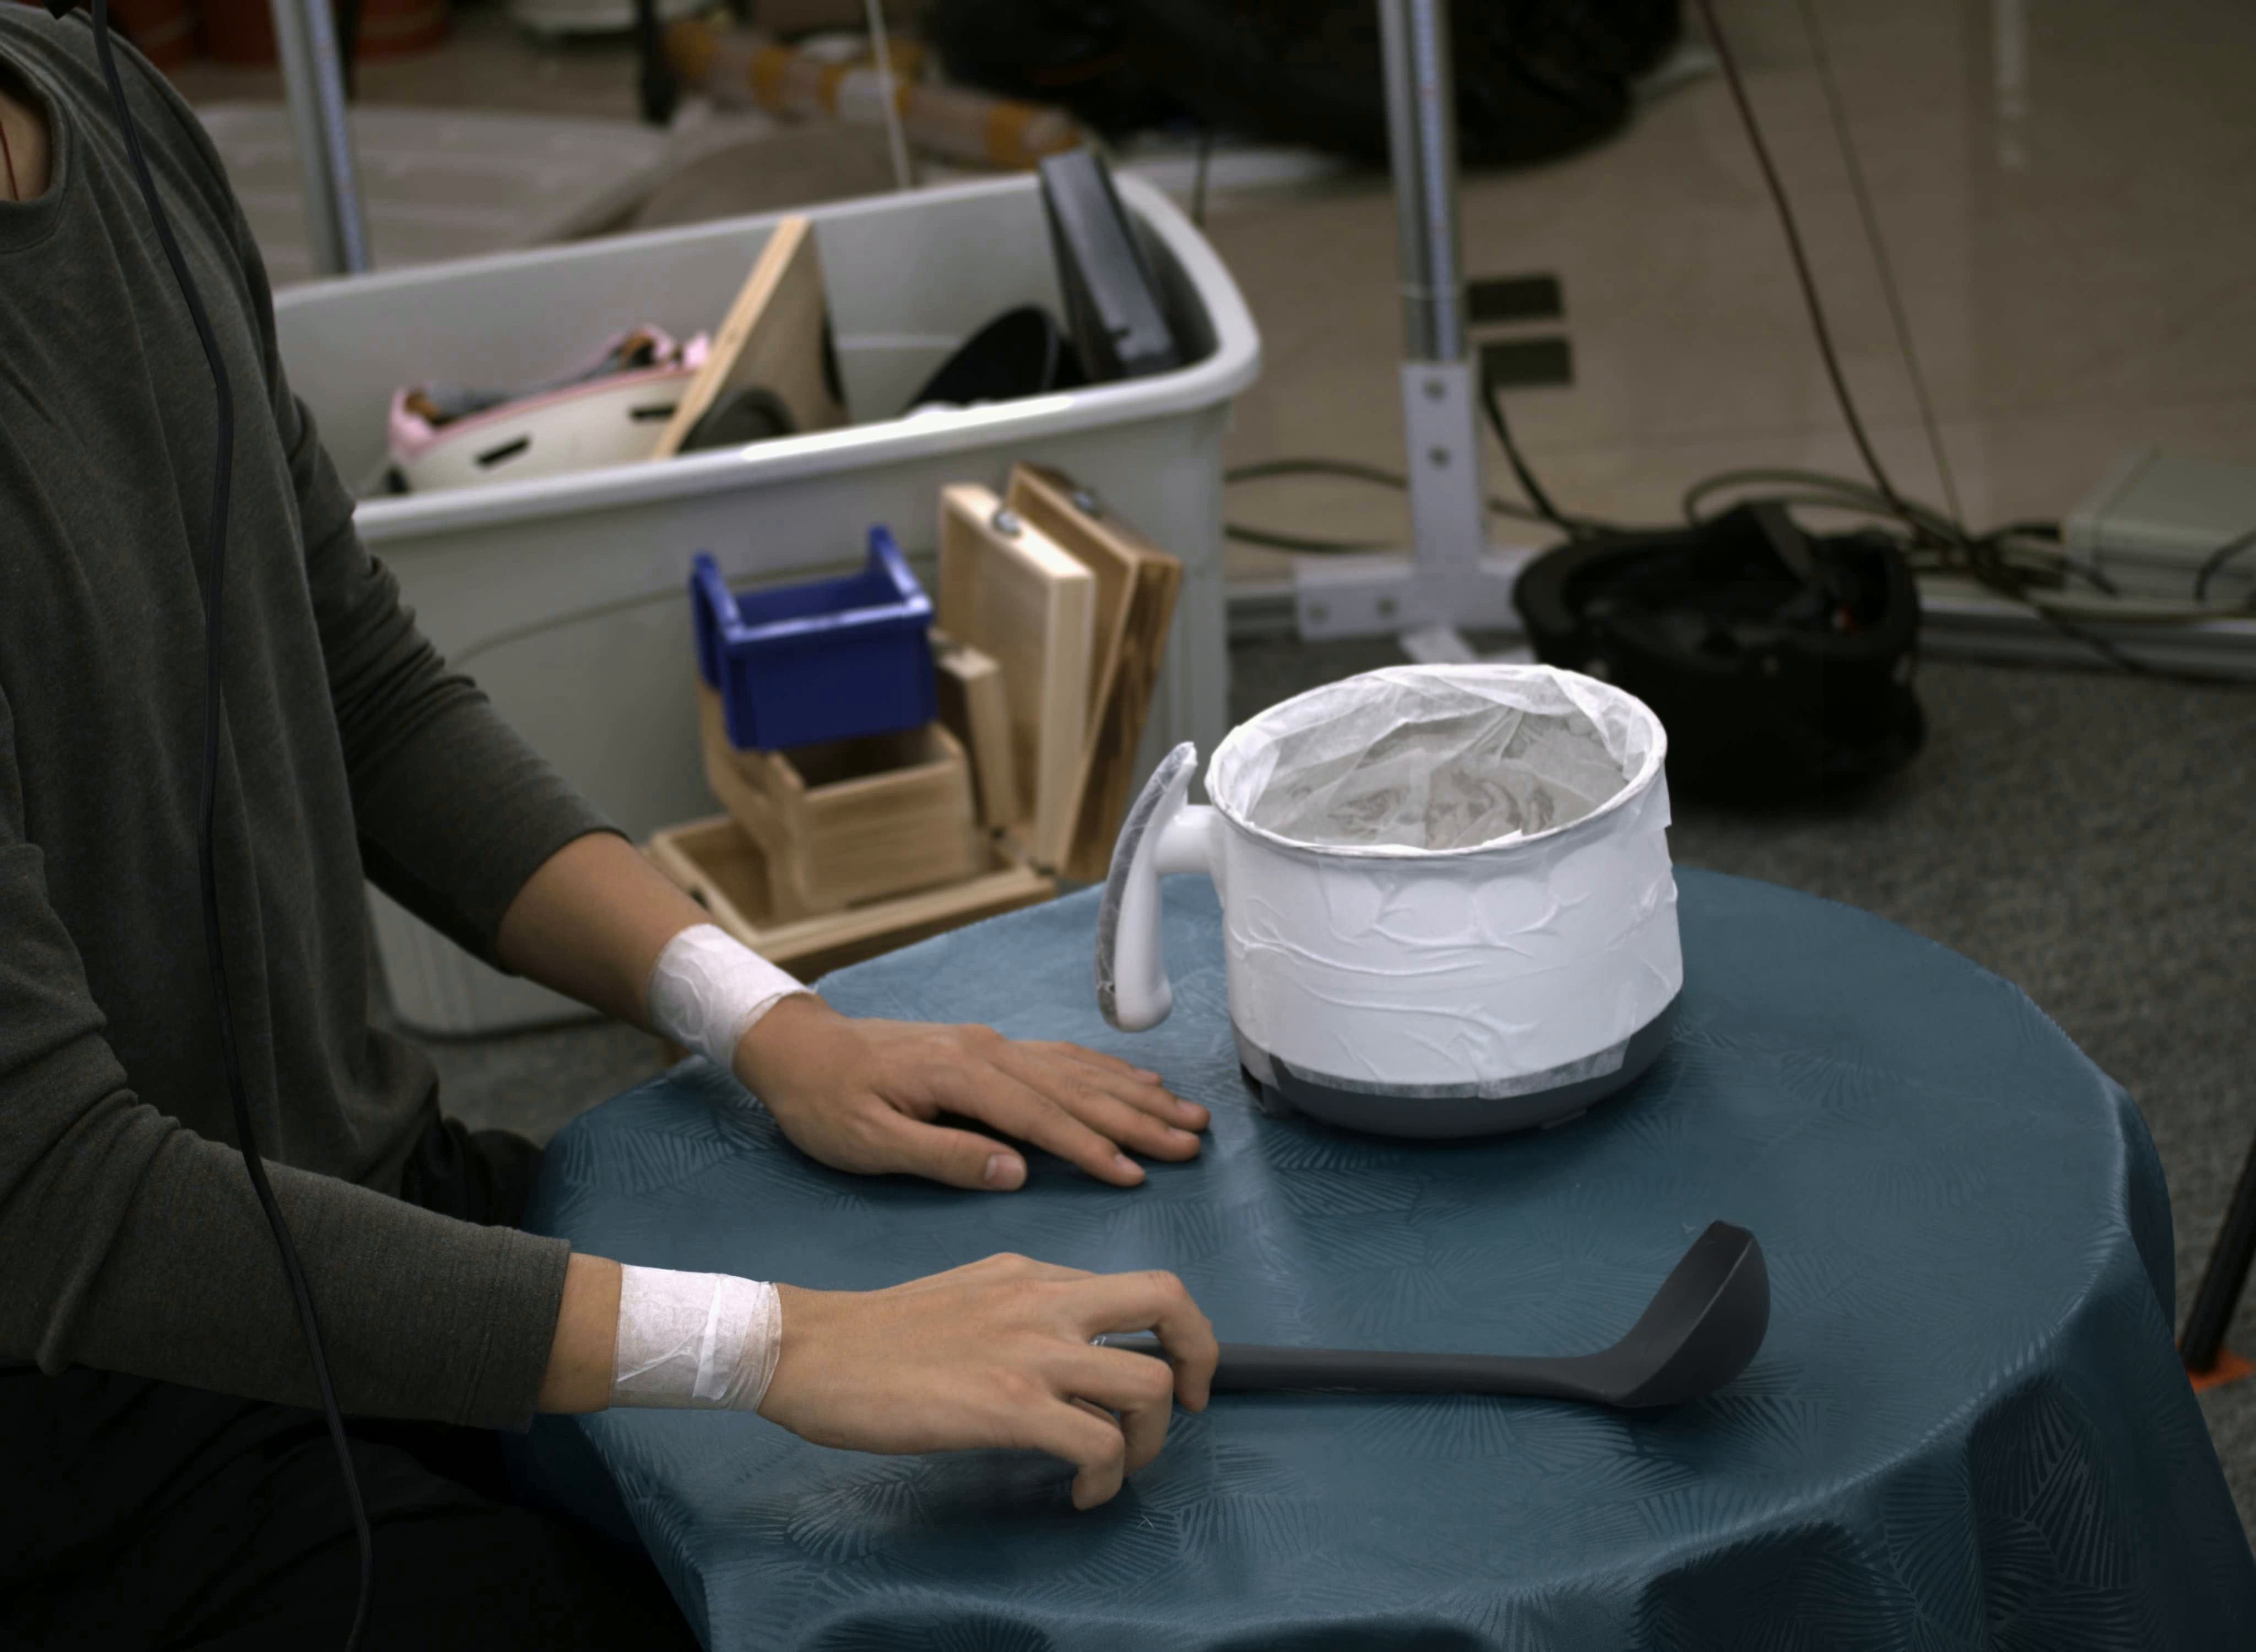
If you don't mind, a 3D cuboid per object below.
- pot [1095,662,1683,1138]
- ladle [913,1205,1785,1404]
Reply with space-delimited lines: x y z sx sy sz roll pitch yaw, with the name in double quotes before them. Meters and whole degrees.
"pot" 0.098 0.030 2.197 0.233 0.139 0.176 0 26 14
"ladle" 0.074 0.170 1.991 0.313 0.065 0.085 0 20 14
